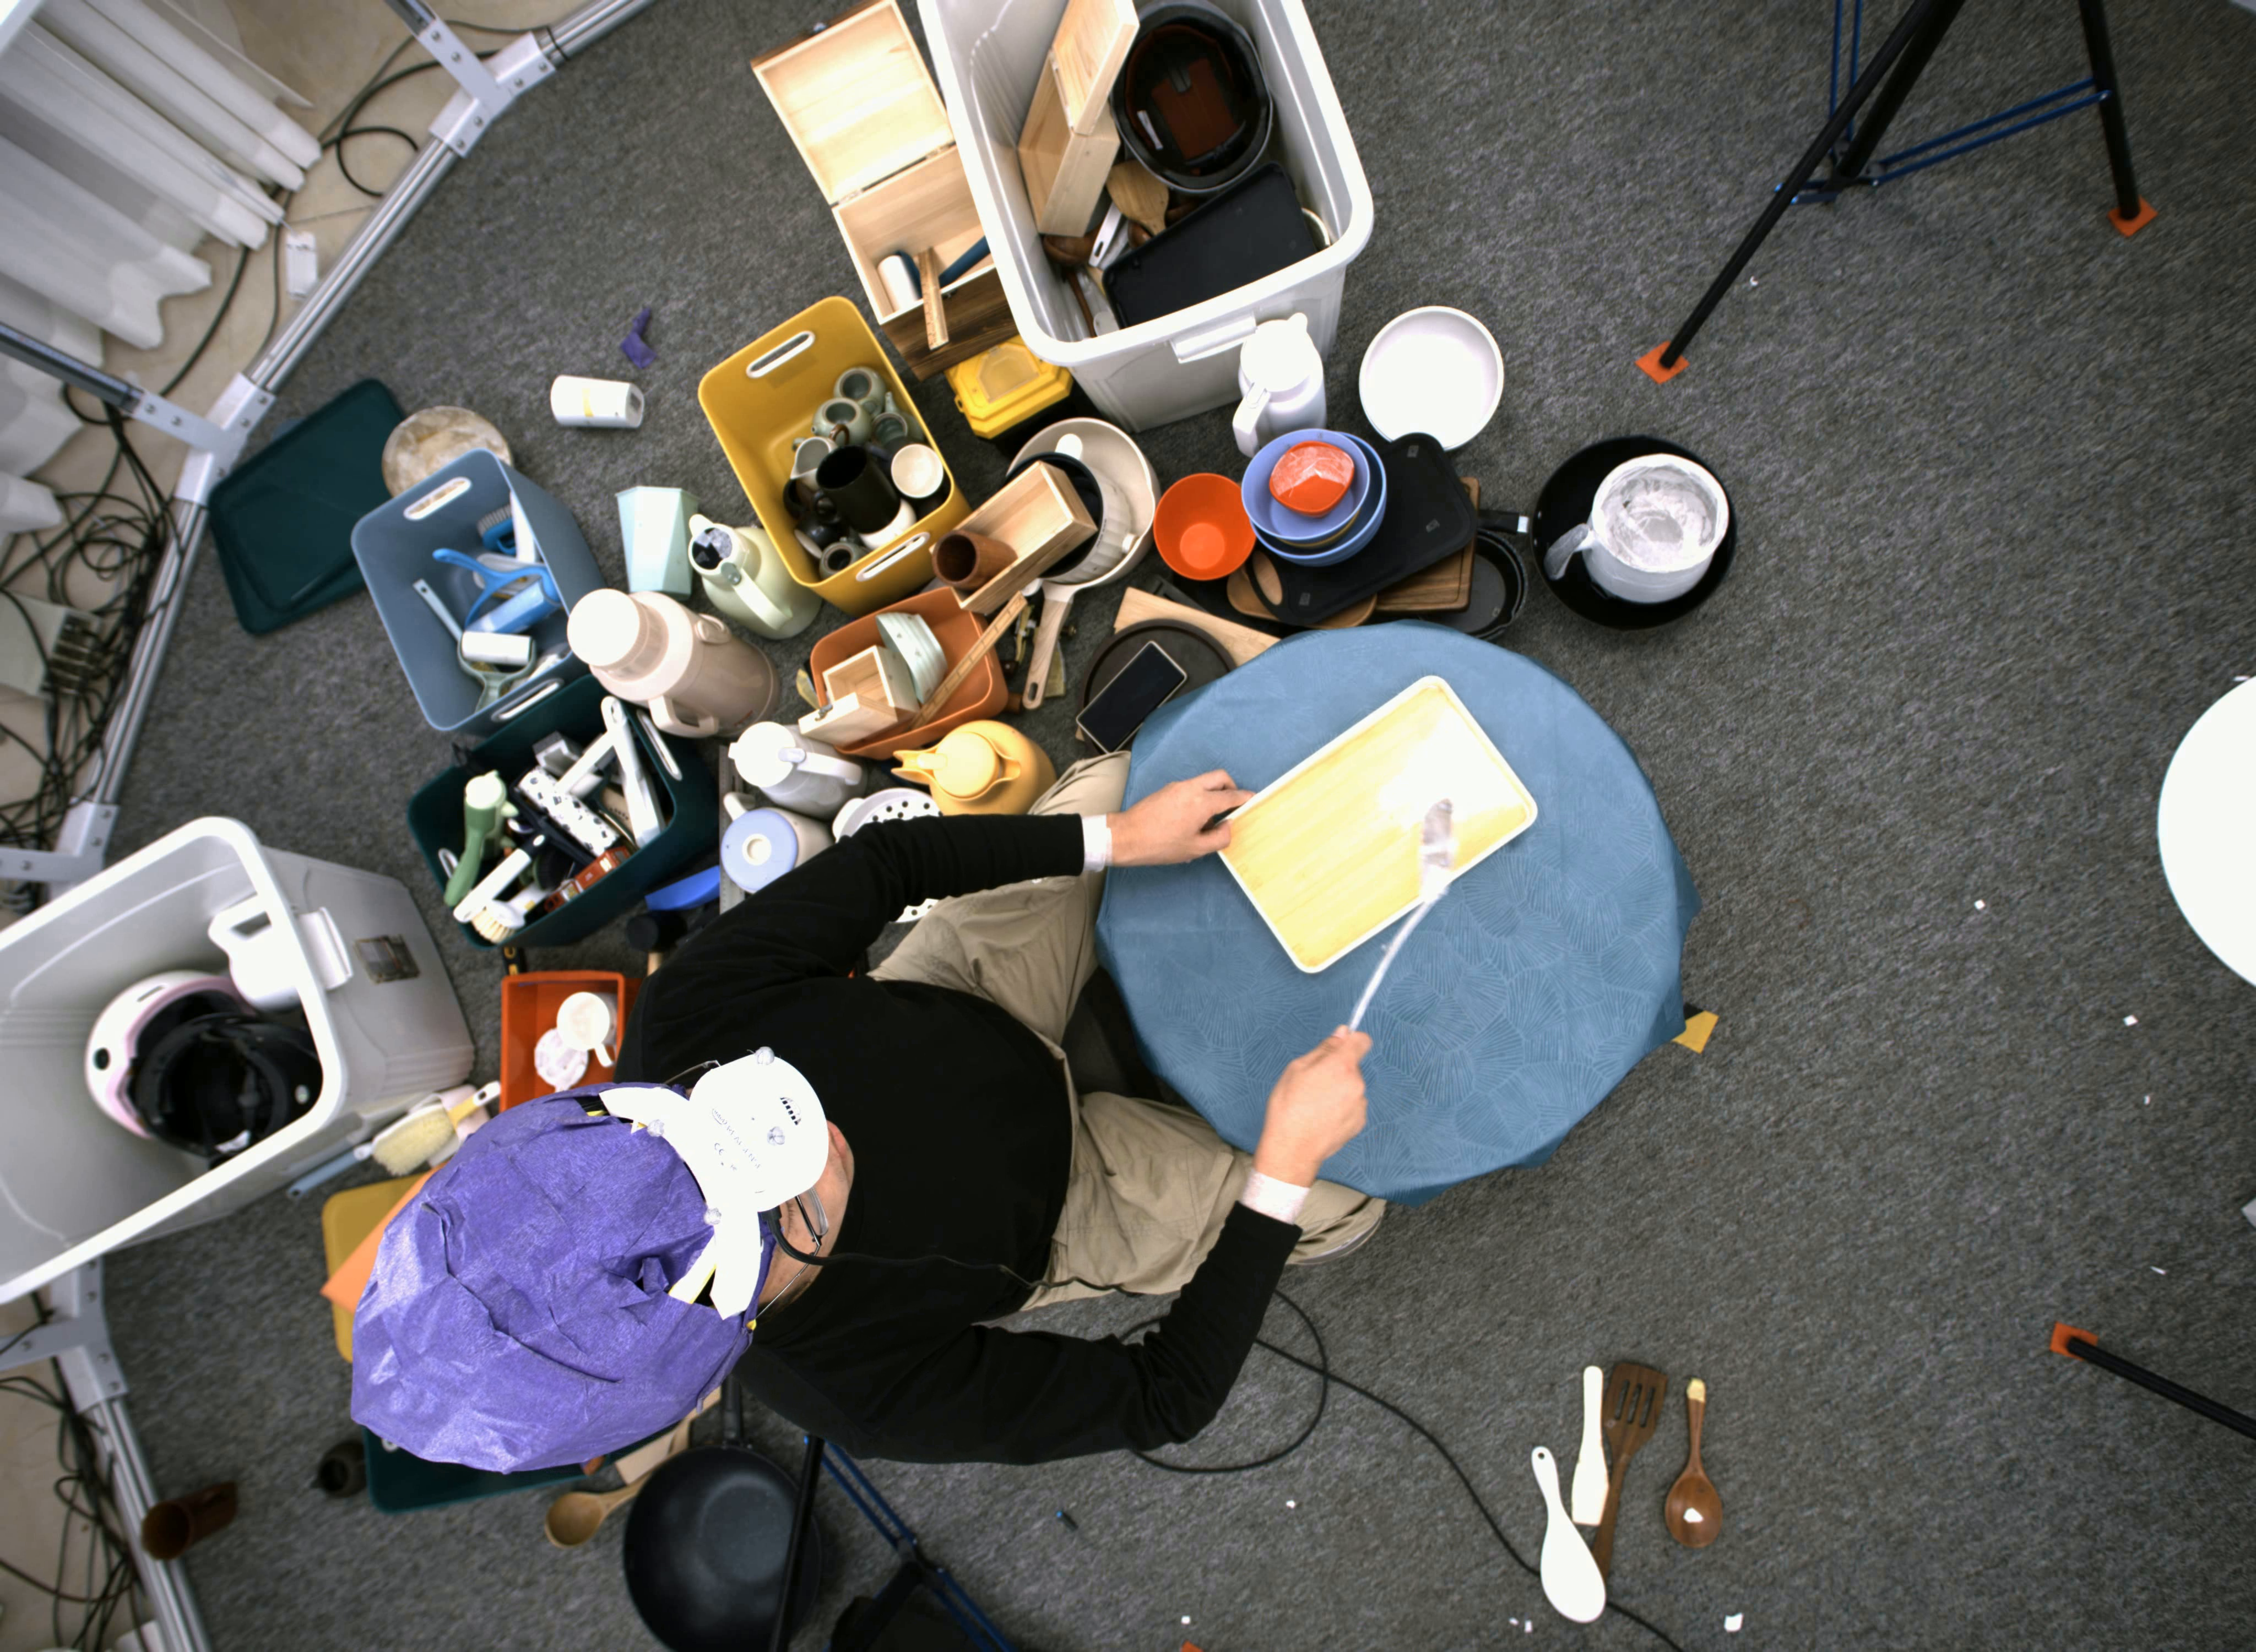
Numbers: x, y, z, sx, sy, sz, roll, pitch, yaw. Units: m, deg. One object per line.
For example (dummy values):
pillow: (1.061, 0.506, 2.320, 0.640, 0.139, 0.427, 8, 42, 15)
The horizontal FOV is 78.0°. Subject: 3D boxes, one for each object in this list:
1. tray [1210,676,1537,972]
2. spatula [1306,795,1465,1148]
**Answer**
tray: (0.256, -0.003, 1.451, 0.302, 0.027, 0.190, -35, 82, 7)
spatula: (0.242, 0.138, 1.322, 0.045, 0.099, 0.363, 29, 87, -6)
